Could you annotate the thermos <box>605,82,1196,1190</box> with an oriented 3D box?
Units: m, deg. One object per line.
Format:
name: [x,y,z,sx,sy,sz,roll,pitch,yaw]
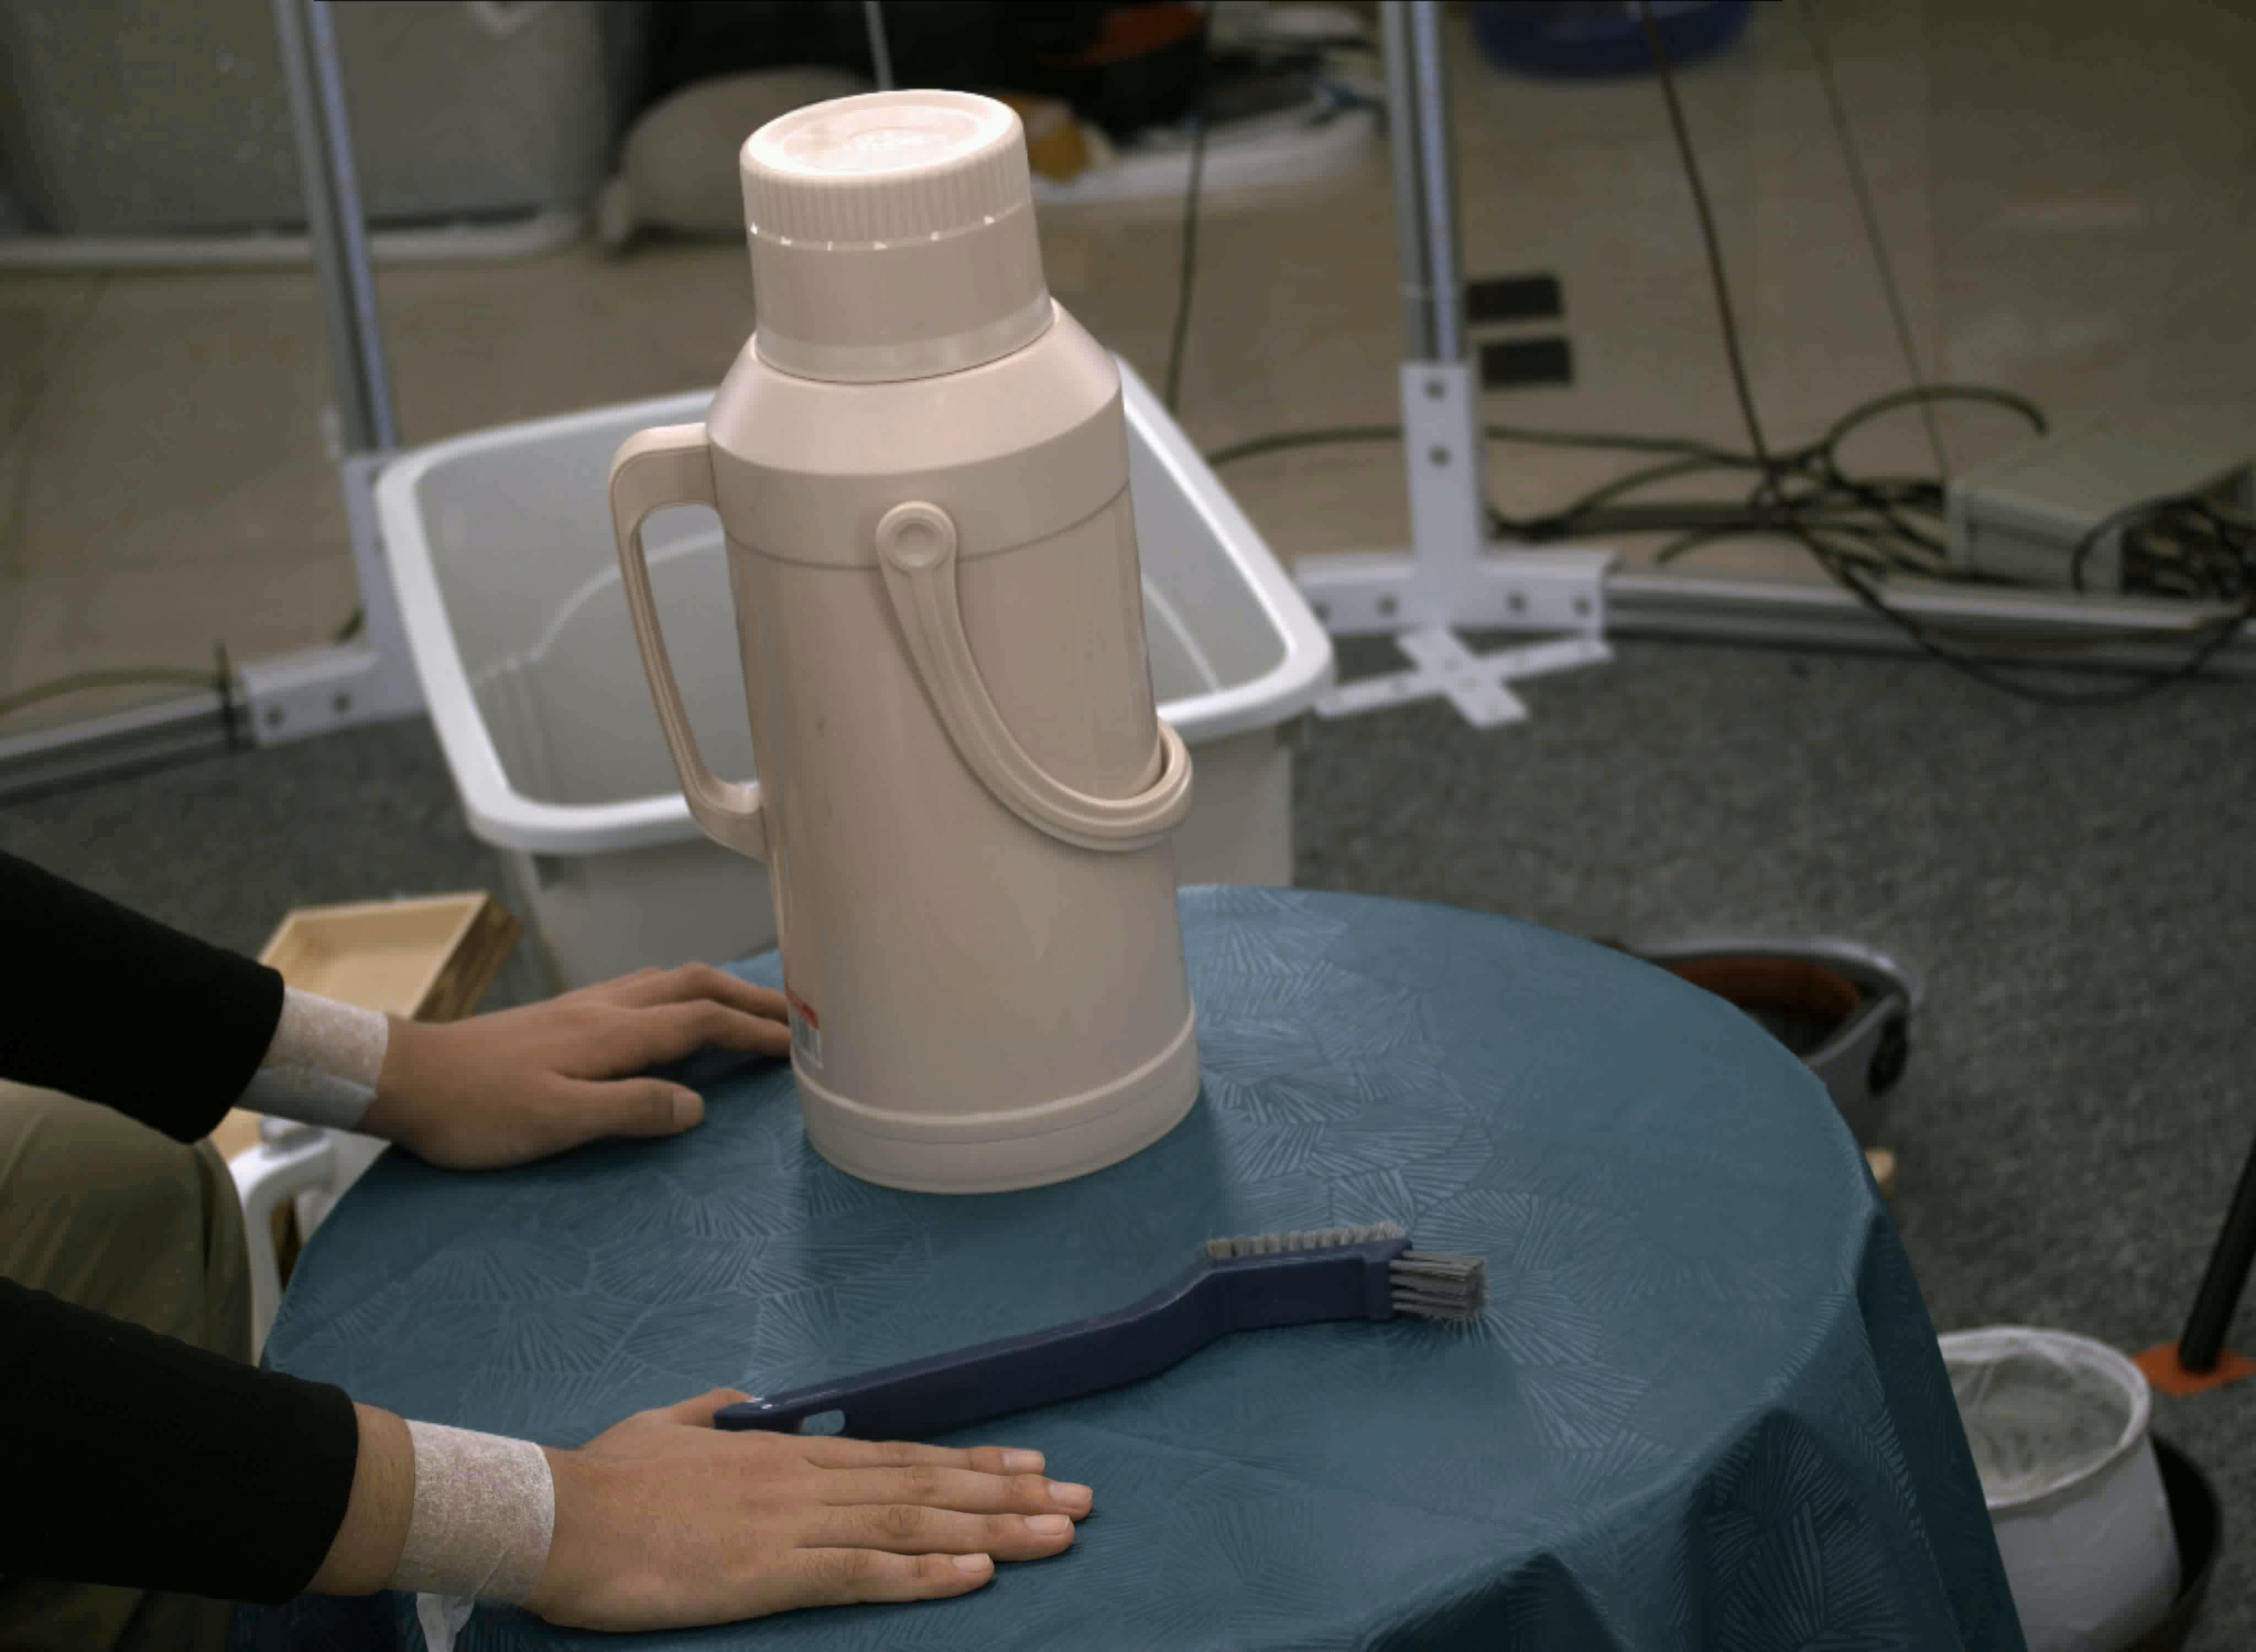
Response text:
thermos: [-0.085,-0.071,2.143,0.207,0.413,0.172,-6,27,1]

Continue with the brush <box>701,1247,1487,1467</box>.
brush: [-0.013,0.188,2.006,0.272,0.034,0.094,-15,24,-22]
